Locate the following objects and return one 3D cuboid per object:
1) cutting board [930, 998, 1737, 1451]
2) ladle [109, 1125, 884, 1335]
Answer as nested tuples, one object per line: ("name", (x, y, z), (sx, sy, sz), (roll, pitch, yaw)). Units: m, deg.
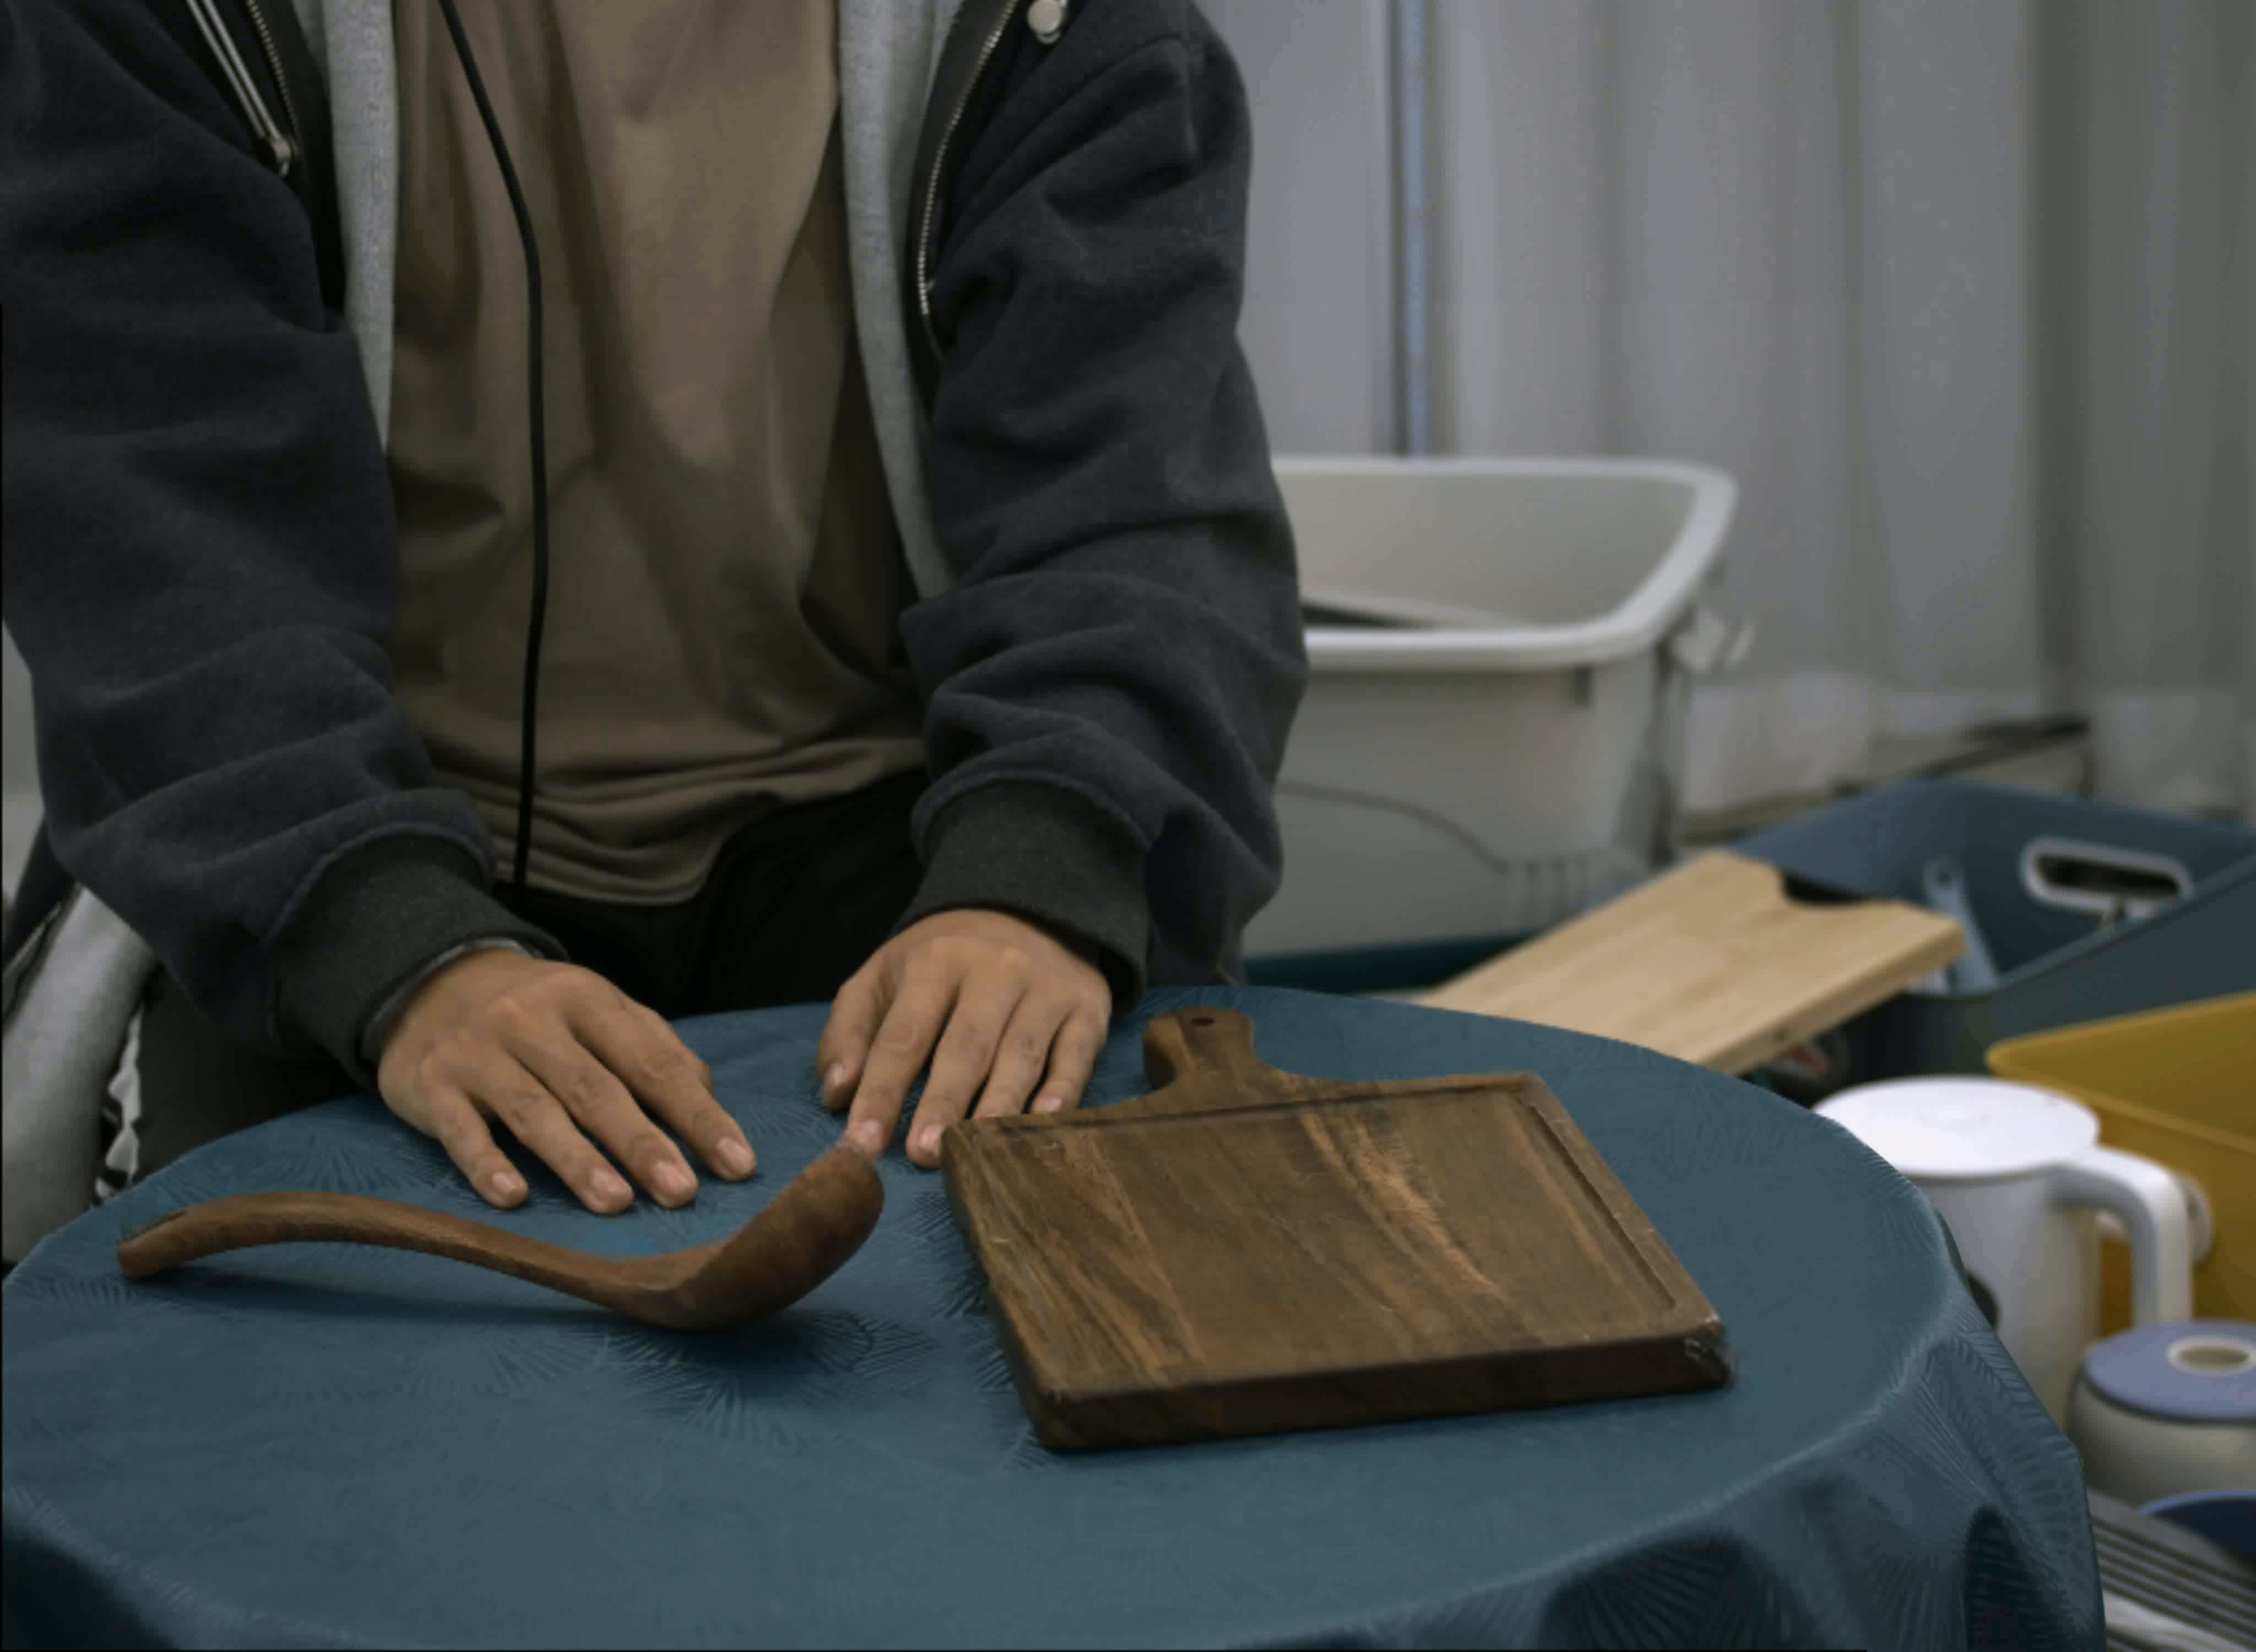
("cutting board", (0.046, 0.112, 1.672), (0.200, 0.023, 0.355), (-4, 15, -8))
("ladle", (-0.193, 0.113, 1.634), (0.260, 0.065, 0.076), (3, 11, 24))
